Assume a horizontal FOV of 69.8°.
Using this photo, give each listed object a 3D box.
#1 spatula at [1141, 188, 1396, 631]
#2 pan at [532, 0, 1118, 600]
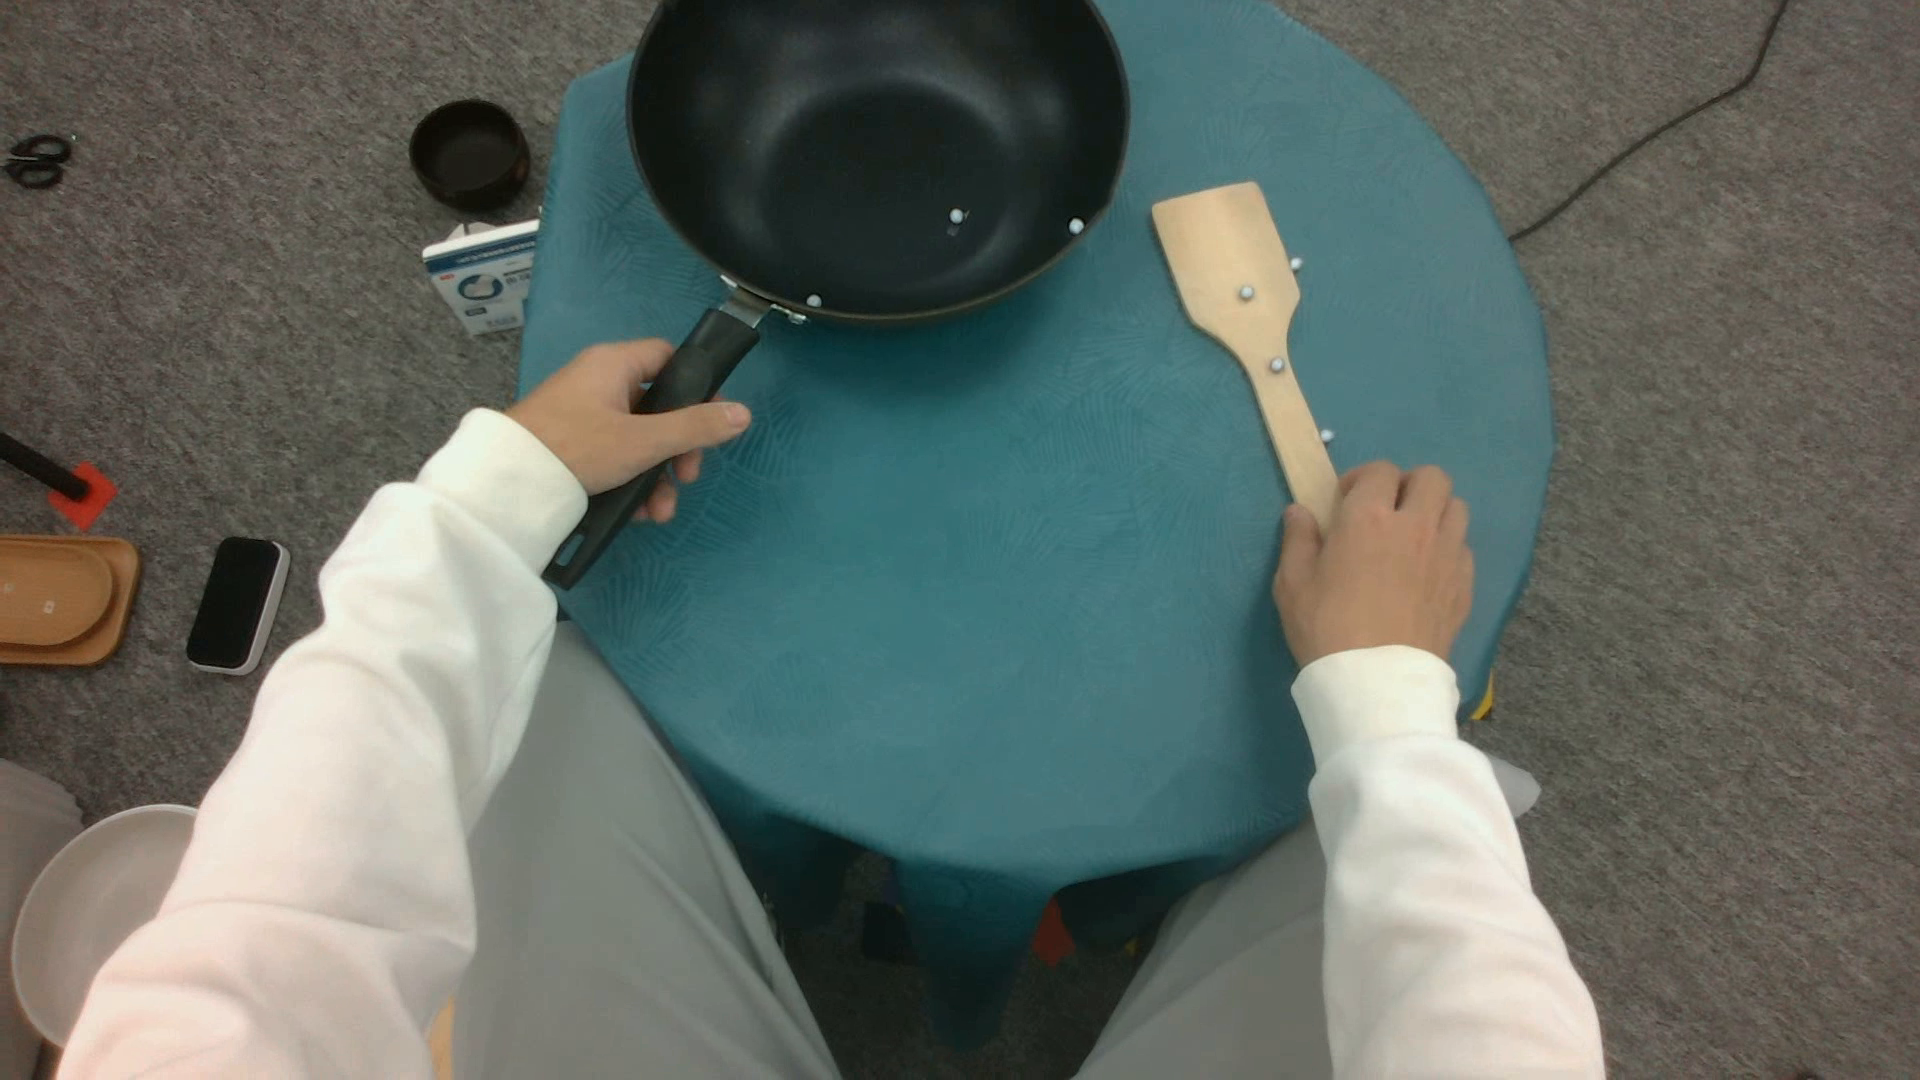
[{"bbox_3d":[0.186,-0.081,0.800,0.072,0.010,0.294,-16,68,-6],"label":"spatula"},{"bbox_3d":[-0.092,-0.153,0.794,0.288,0.086,0.465,25,72,11],"label":"pan"}]
